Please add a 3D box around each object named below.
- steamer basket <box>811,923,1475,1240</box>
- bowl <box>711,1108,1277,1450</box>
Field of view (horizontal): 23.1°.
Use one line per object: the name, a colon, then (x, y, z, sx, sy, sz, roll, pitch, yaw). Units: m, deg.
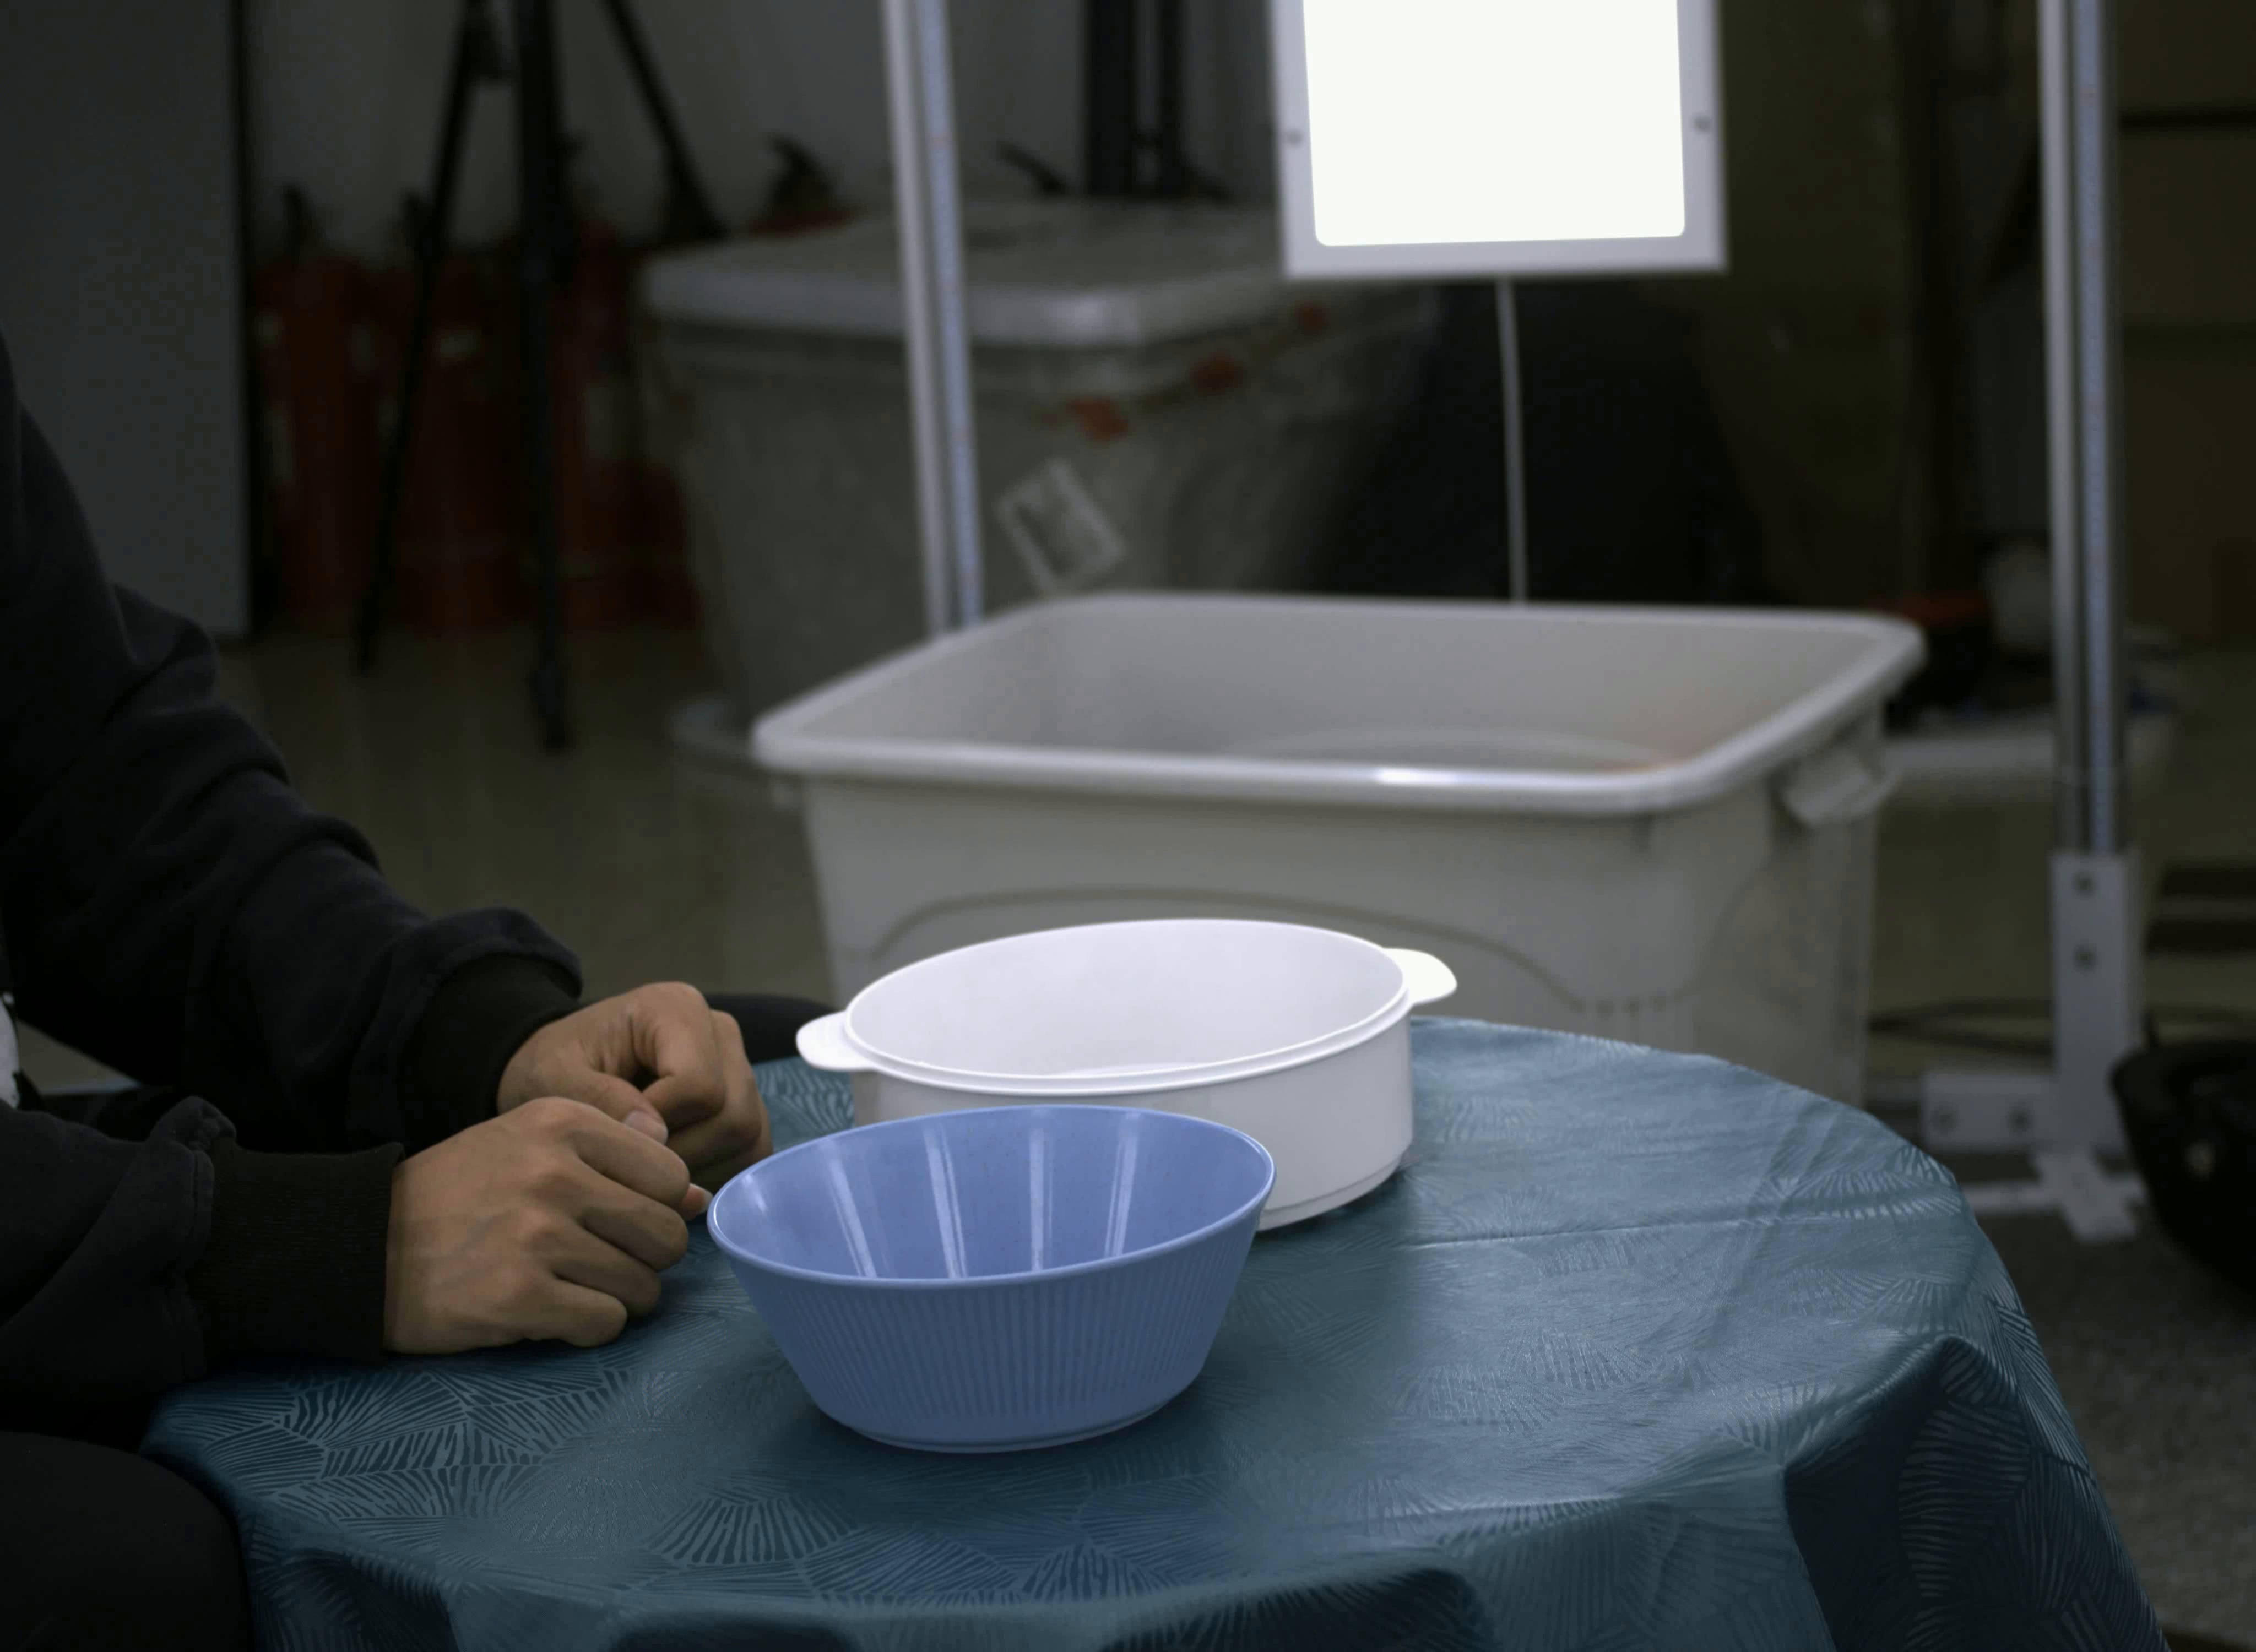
steamer basket: (0.007, 0.089, 1.905, 0.228, 0.069, 0.203, -5, 13, -8)
bowl: (-0.039, 0.142, 1.698, 0.175, 0.070, 0.176, -5, 13, 0)
